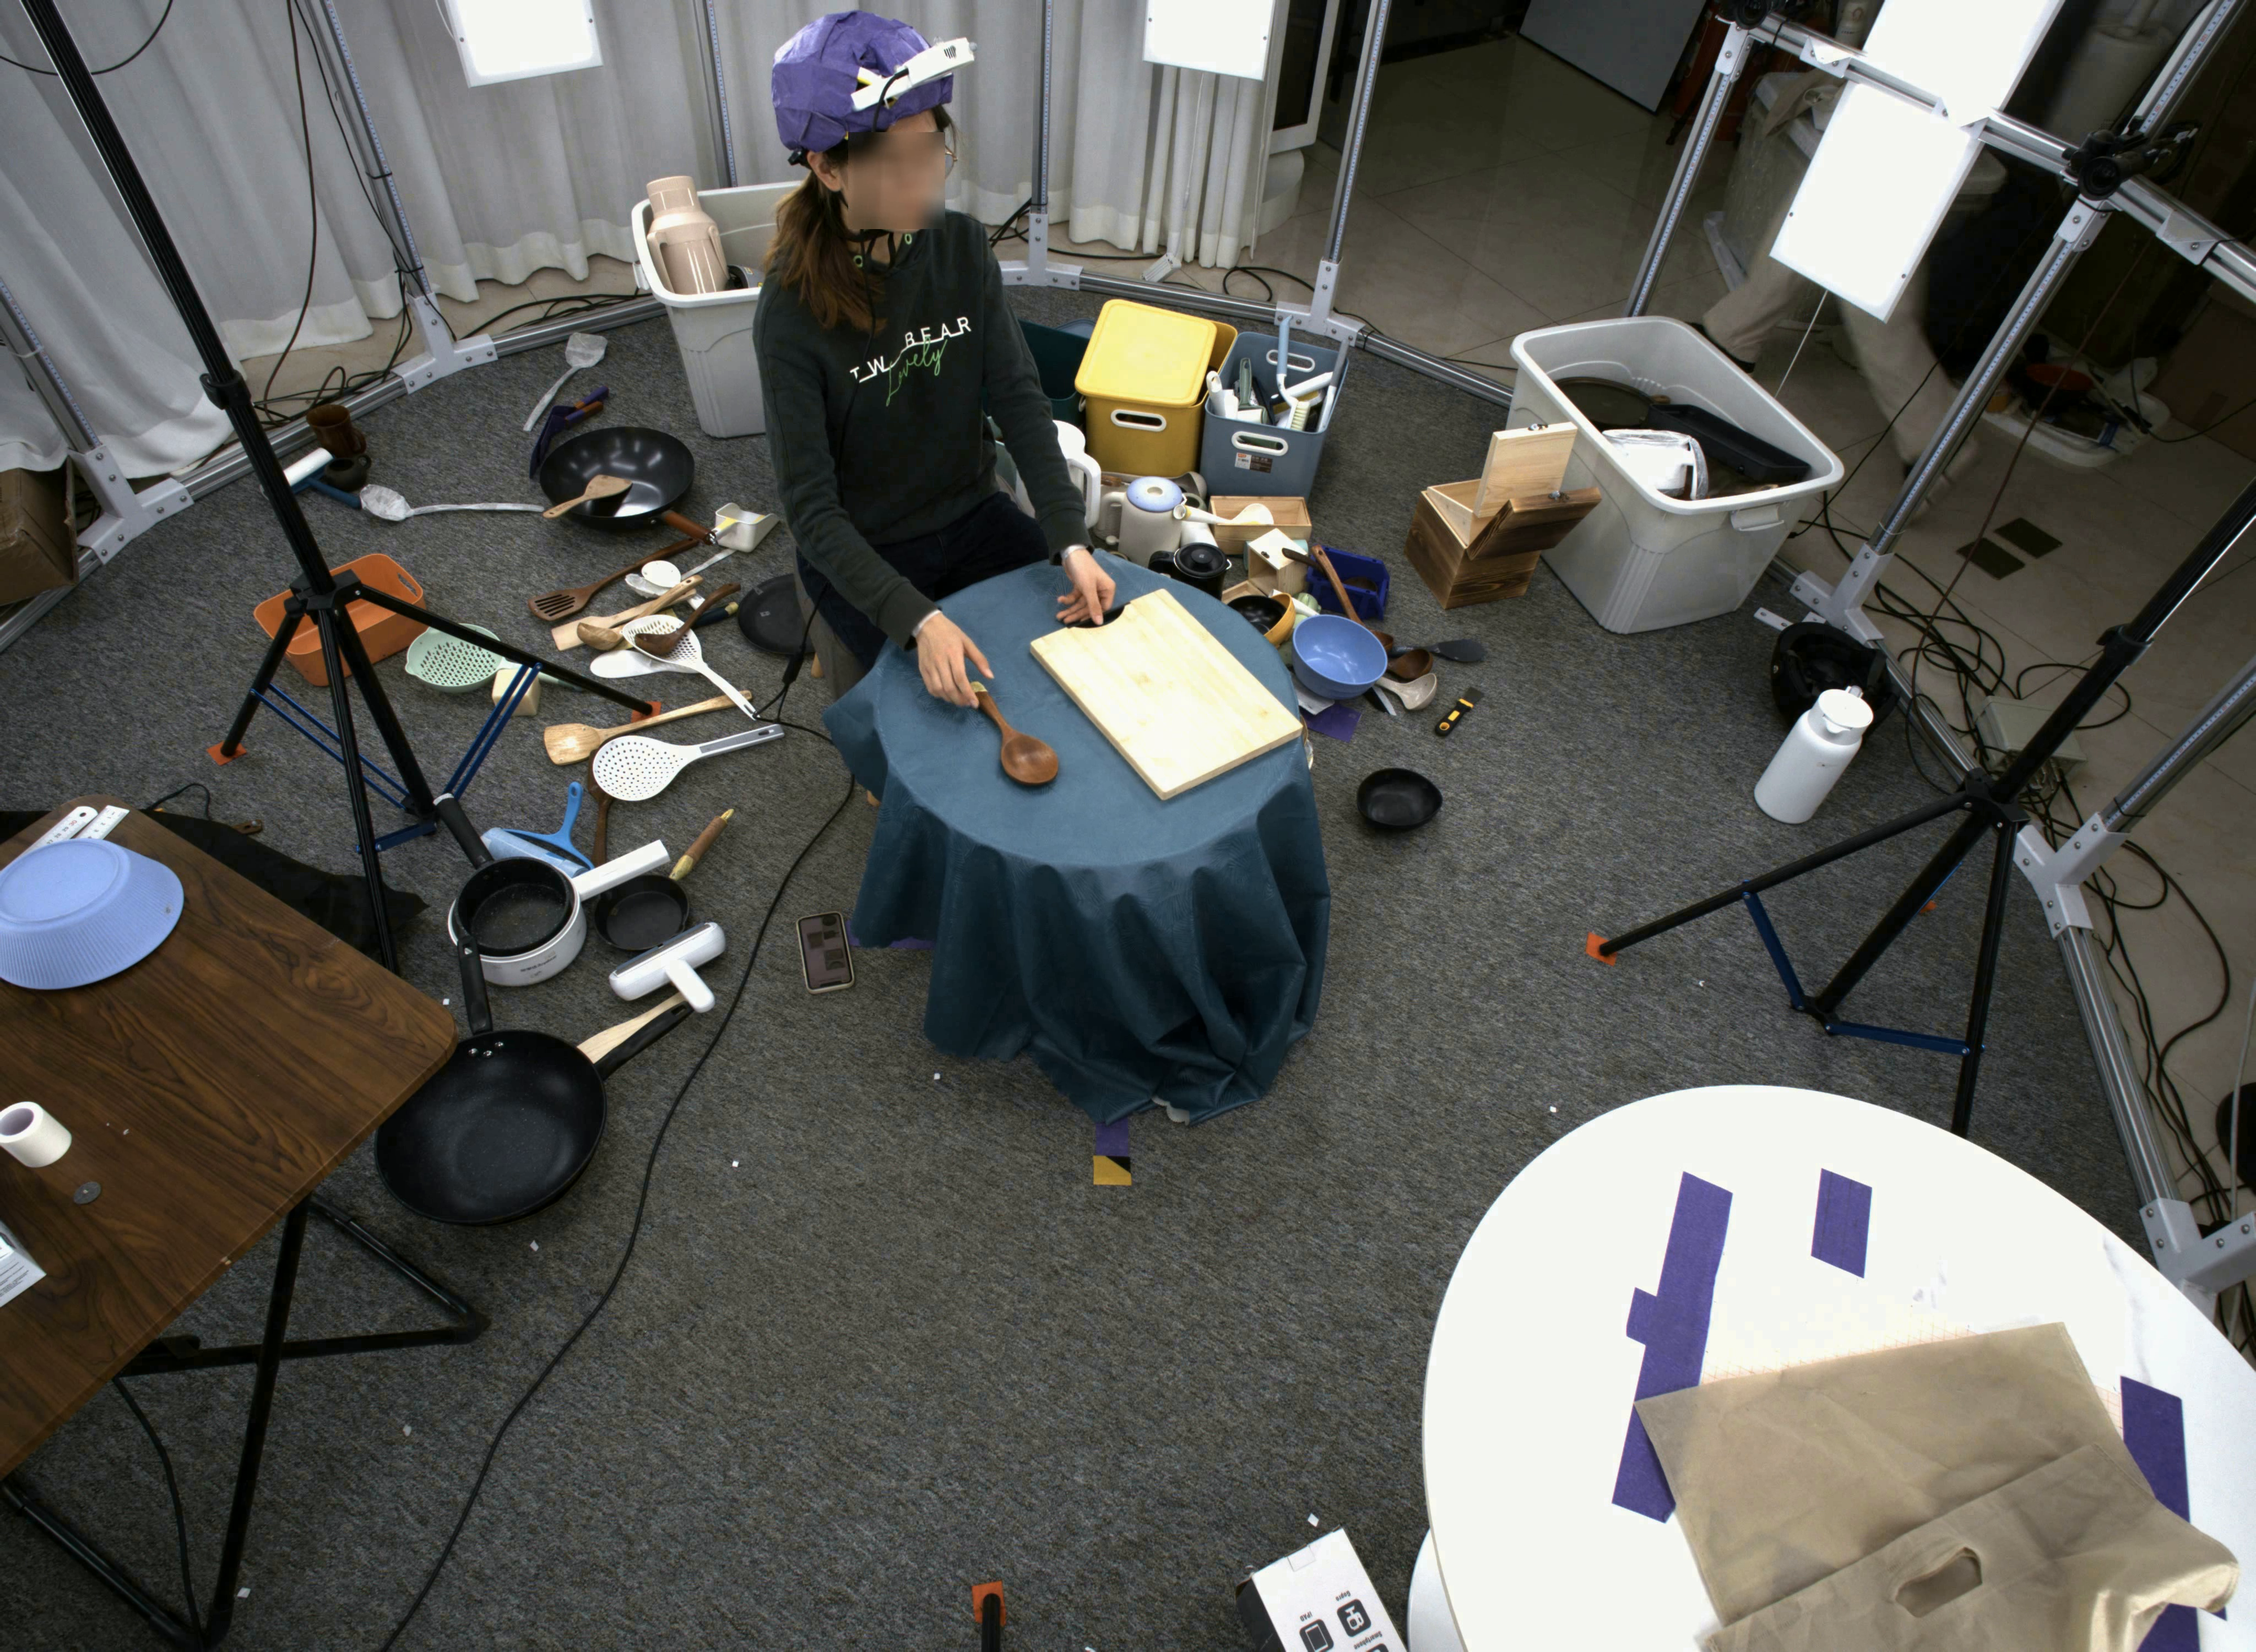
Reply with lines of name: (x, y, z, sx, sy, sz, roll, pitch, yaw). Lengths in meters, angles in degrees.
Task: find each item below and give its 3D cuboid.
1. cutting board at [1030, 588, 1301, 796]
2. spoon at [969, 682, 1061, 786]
cutting board: (0.048, -0.201, 1.853, 0.252, 0.023, 0.355, -26, 55, -24)
spoon: (-0.163, -0.128, 1.773, 0.076, 0.017, 0.220, -23, 55, -20)
